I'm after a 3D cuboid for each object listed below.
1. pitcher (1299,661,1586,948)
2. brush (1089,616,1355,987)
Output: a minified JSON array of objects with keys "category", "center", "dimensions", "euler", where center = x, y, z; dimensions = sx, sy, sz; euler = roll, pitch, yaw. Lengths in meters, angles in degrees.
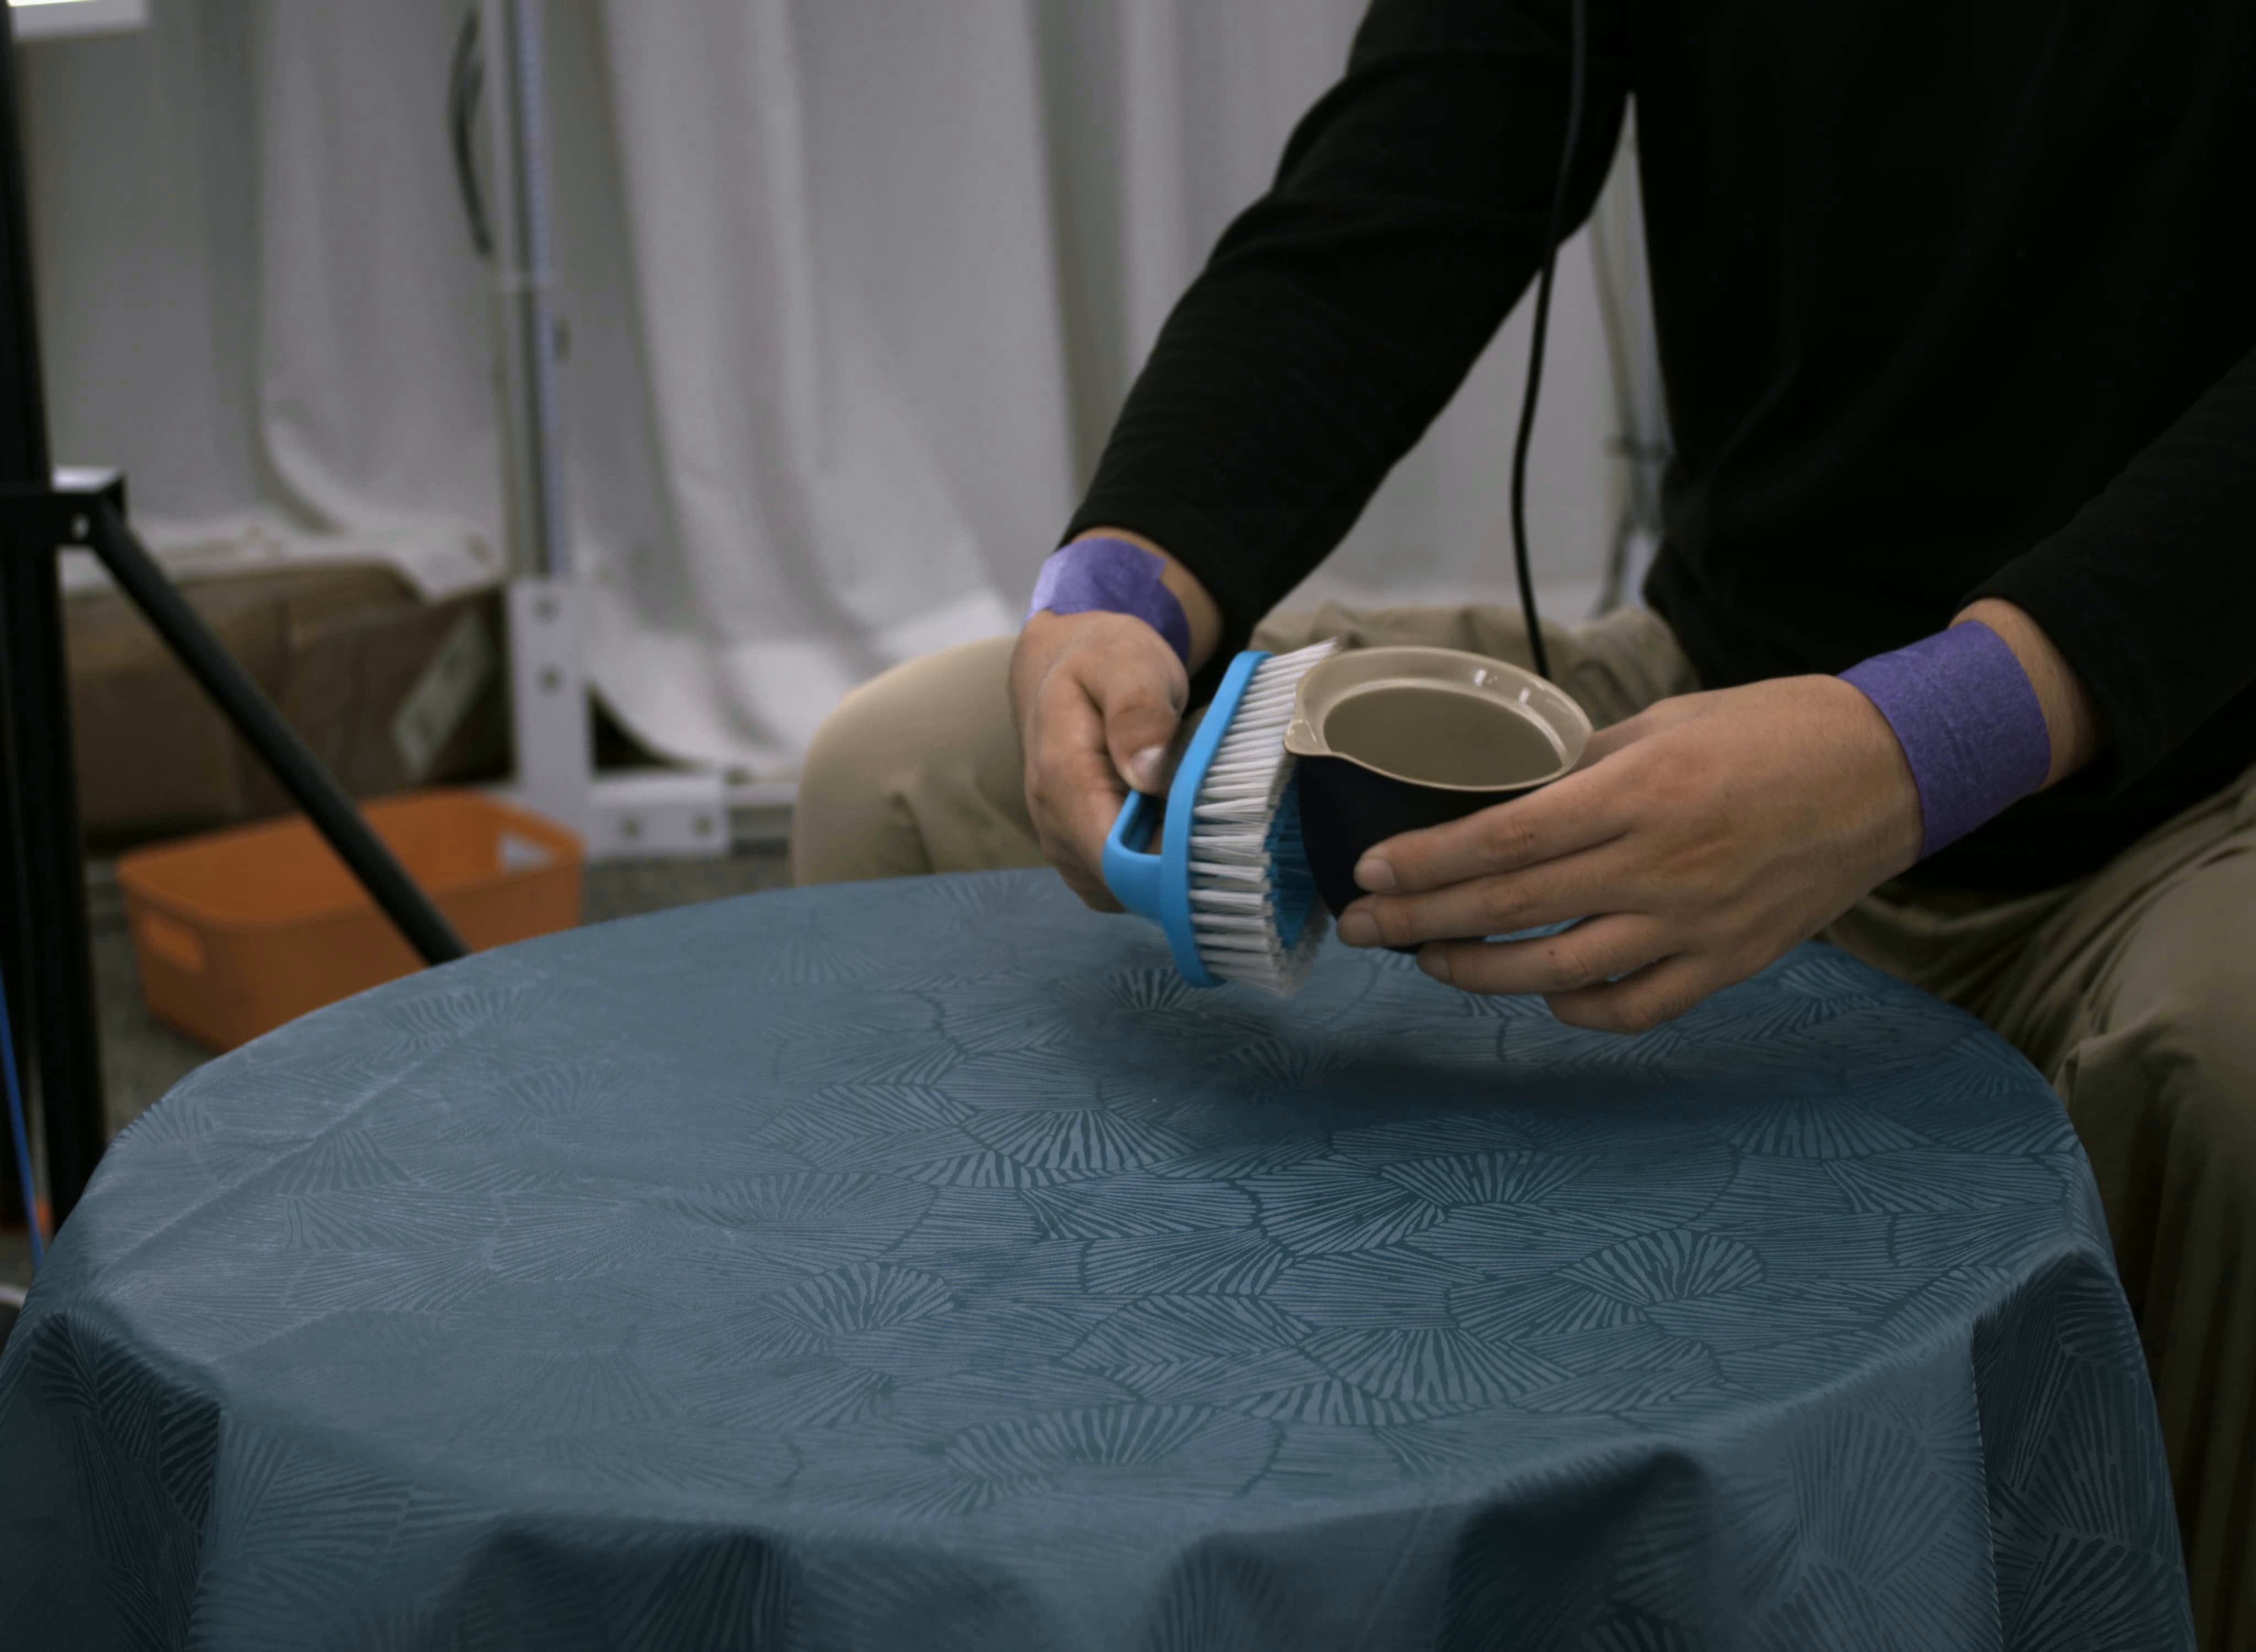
[{"category":"pitcher","center":[0.093,-0.004,1.635],"dimensions":[0.094,0.071,0.085],"euler":[-6,32,-19]},{"category":"brush","center":[0.026,-0.006,1.658],"dimensions":[0.064,0.083,0.141],"euler":[-3,32,21]}]
